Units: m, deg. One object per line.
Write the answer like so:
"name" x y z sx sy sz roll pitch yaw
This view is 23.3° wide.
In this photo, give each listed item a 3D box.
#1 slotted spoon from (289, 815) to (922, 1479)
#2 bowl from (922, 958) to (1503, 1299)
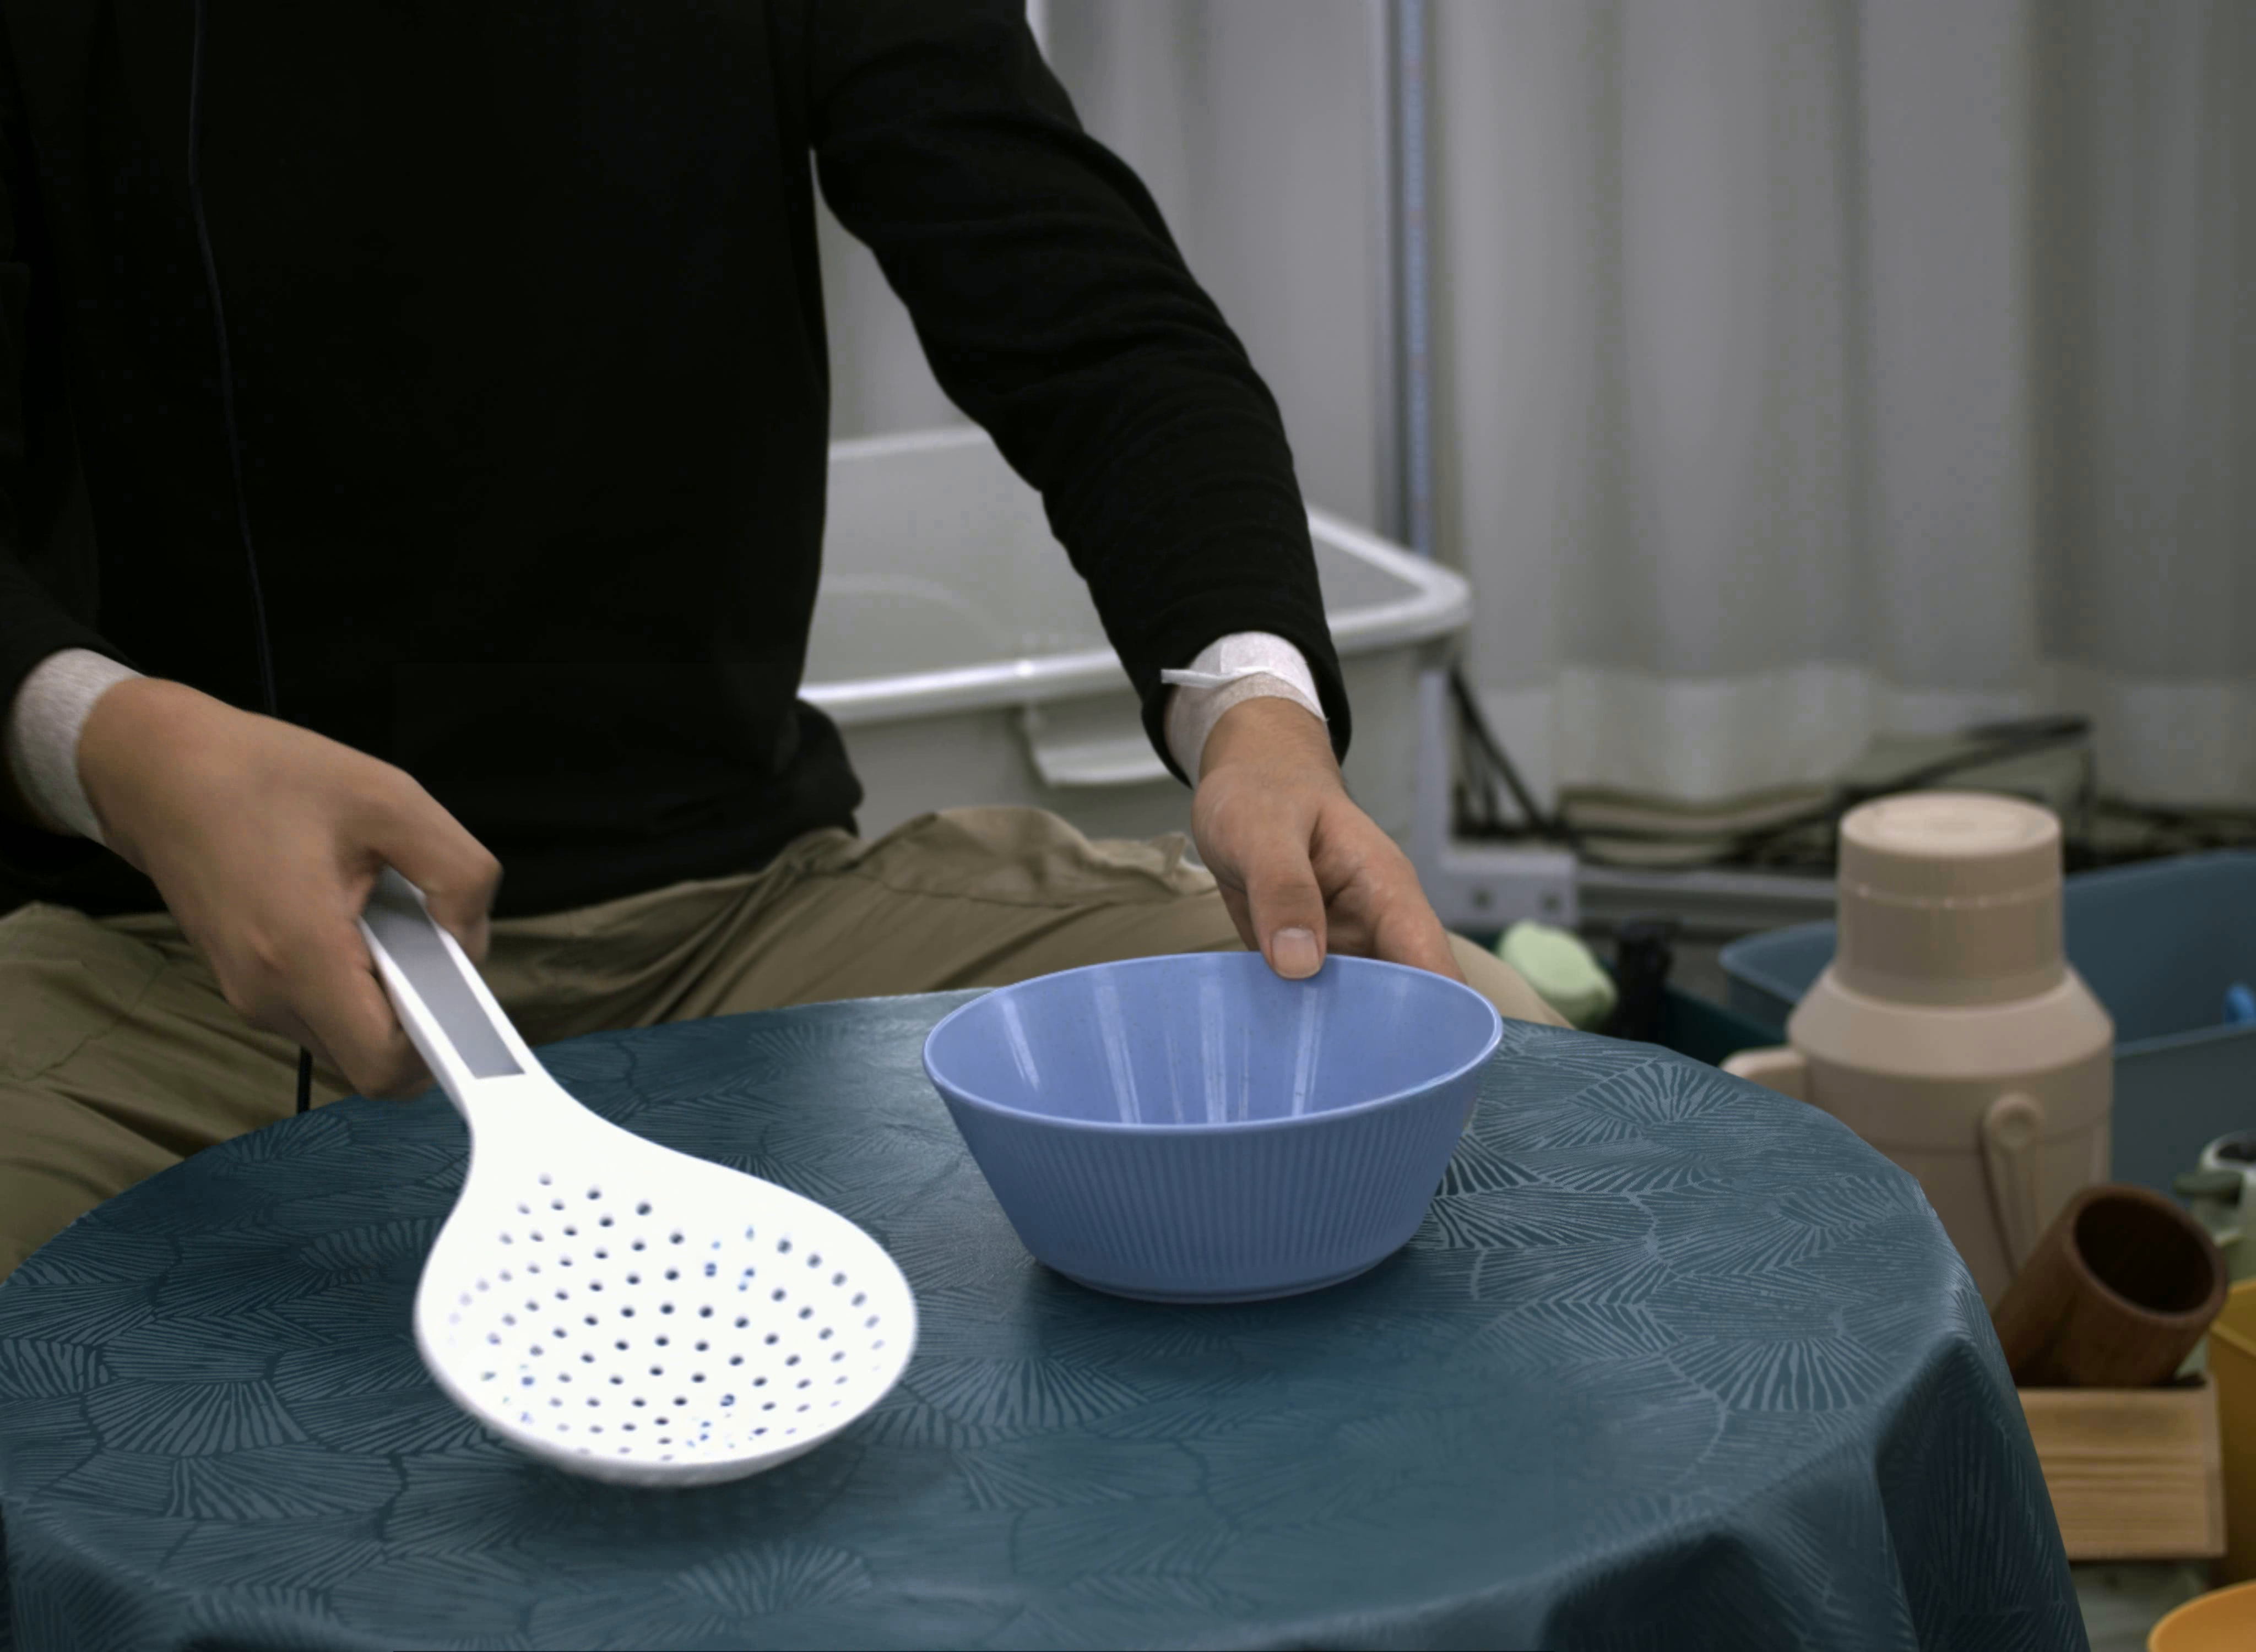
"slotted spoon" -0.174 0.086 1.581 0.135 0.045 0.354 -9 37 -26
"bowl" 0.027 0.094 1.653 0.175 0.070 0.177 -3 14 0
